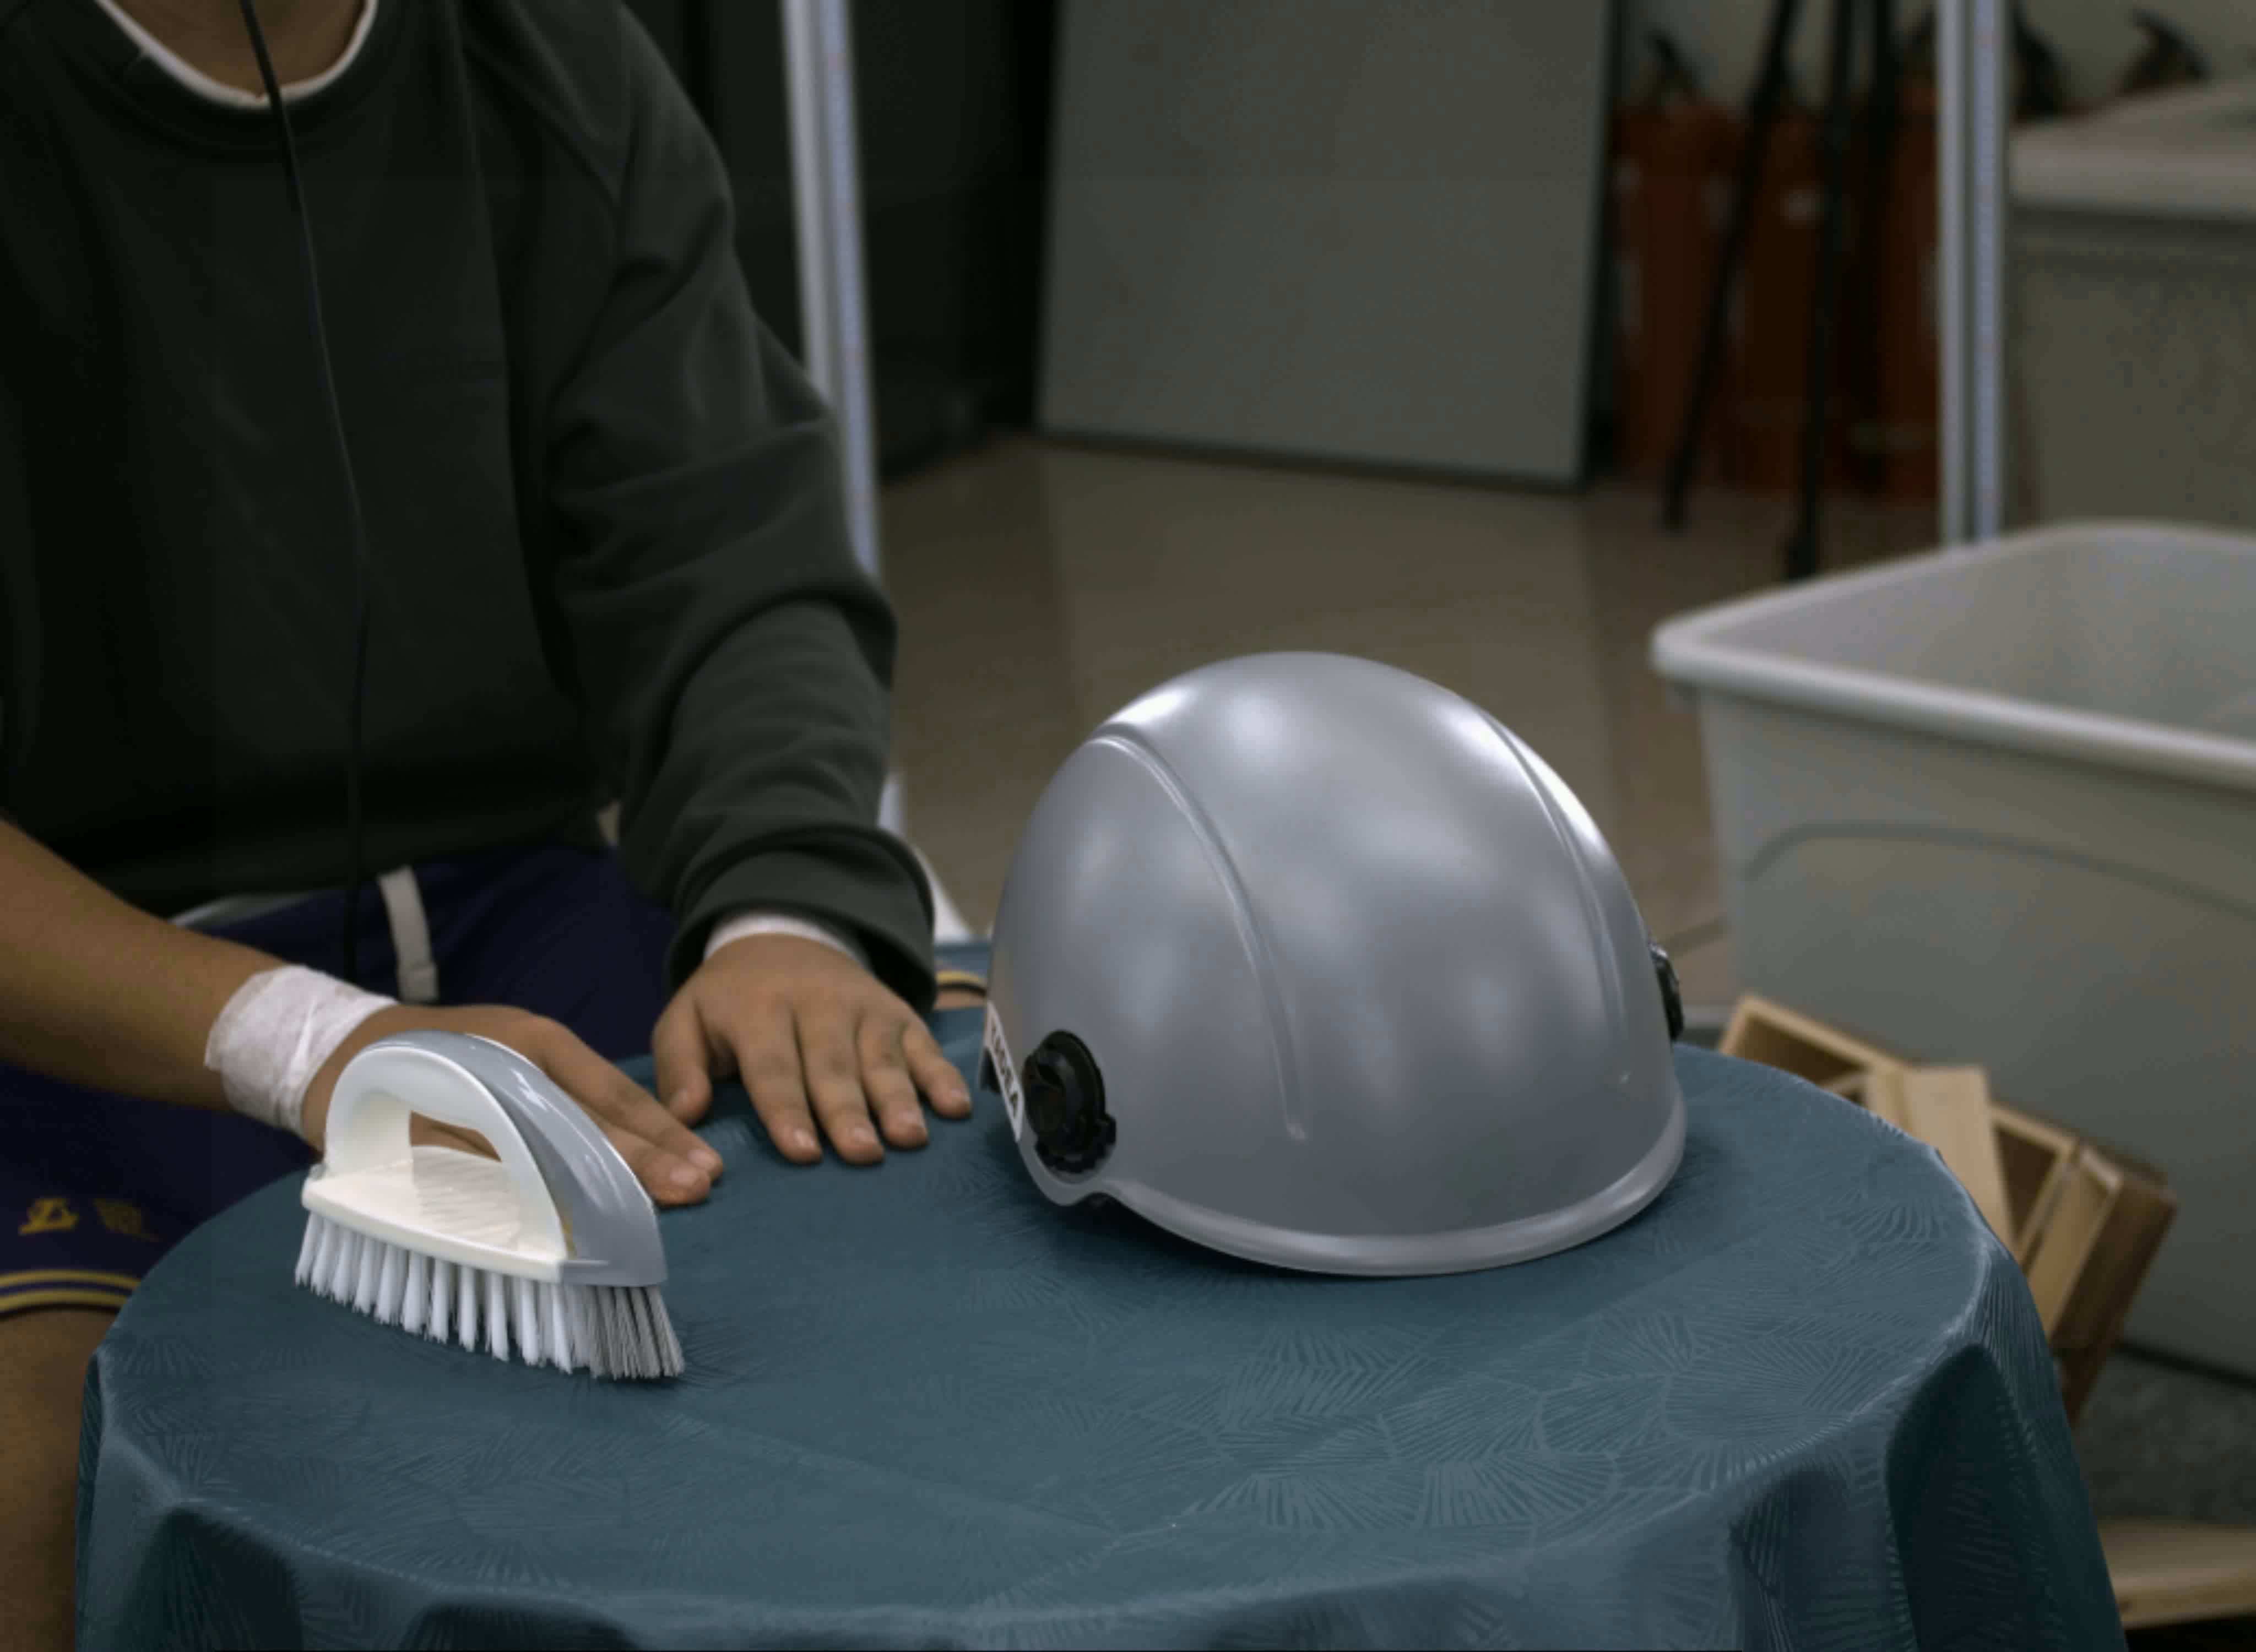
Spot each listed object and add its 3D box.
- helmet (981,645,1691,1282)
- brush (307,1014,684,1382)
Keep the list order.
[{"bbox_3d":[0.065,0.031,1.773,0.227,0.170,0.279,-10,17,-19],"label":"helmet"},{"bbox_3d":[-0.192,0.111,1.673,0.060,0.095,0.177,-15,20,-37],"label":"brush"}]
